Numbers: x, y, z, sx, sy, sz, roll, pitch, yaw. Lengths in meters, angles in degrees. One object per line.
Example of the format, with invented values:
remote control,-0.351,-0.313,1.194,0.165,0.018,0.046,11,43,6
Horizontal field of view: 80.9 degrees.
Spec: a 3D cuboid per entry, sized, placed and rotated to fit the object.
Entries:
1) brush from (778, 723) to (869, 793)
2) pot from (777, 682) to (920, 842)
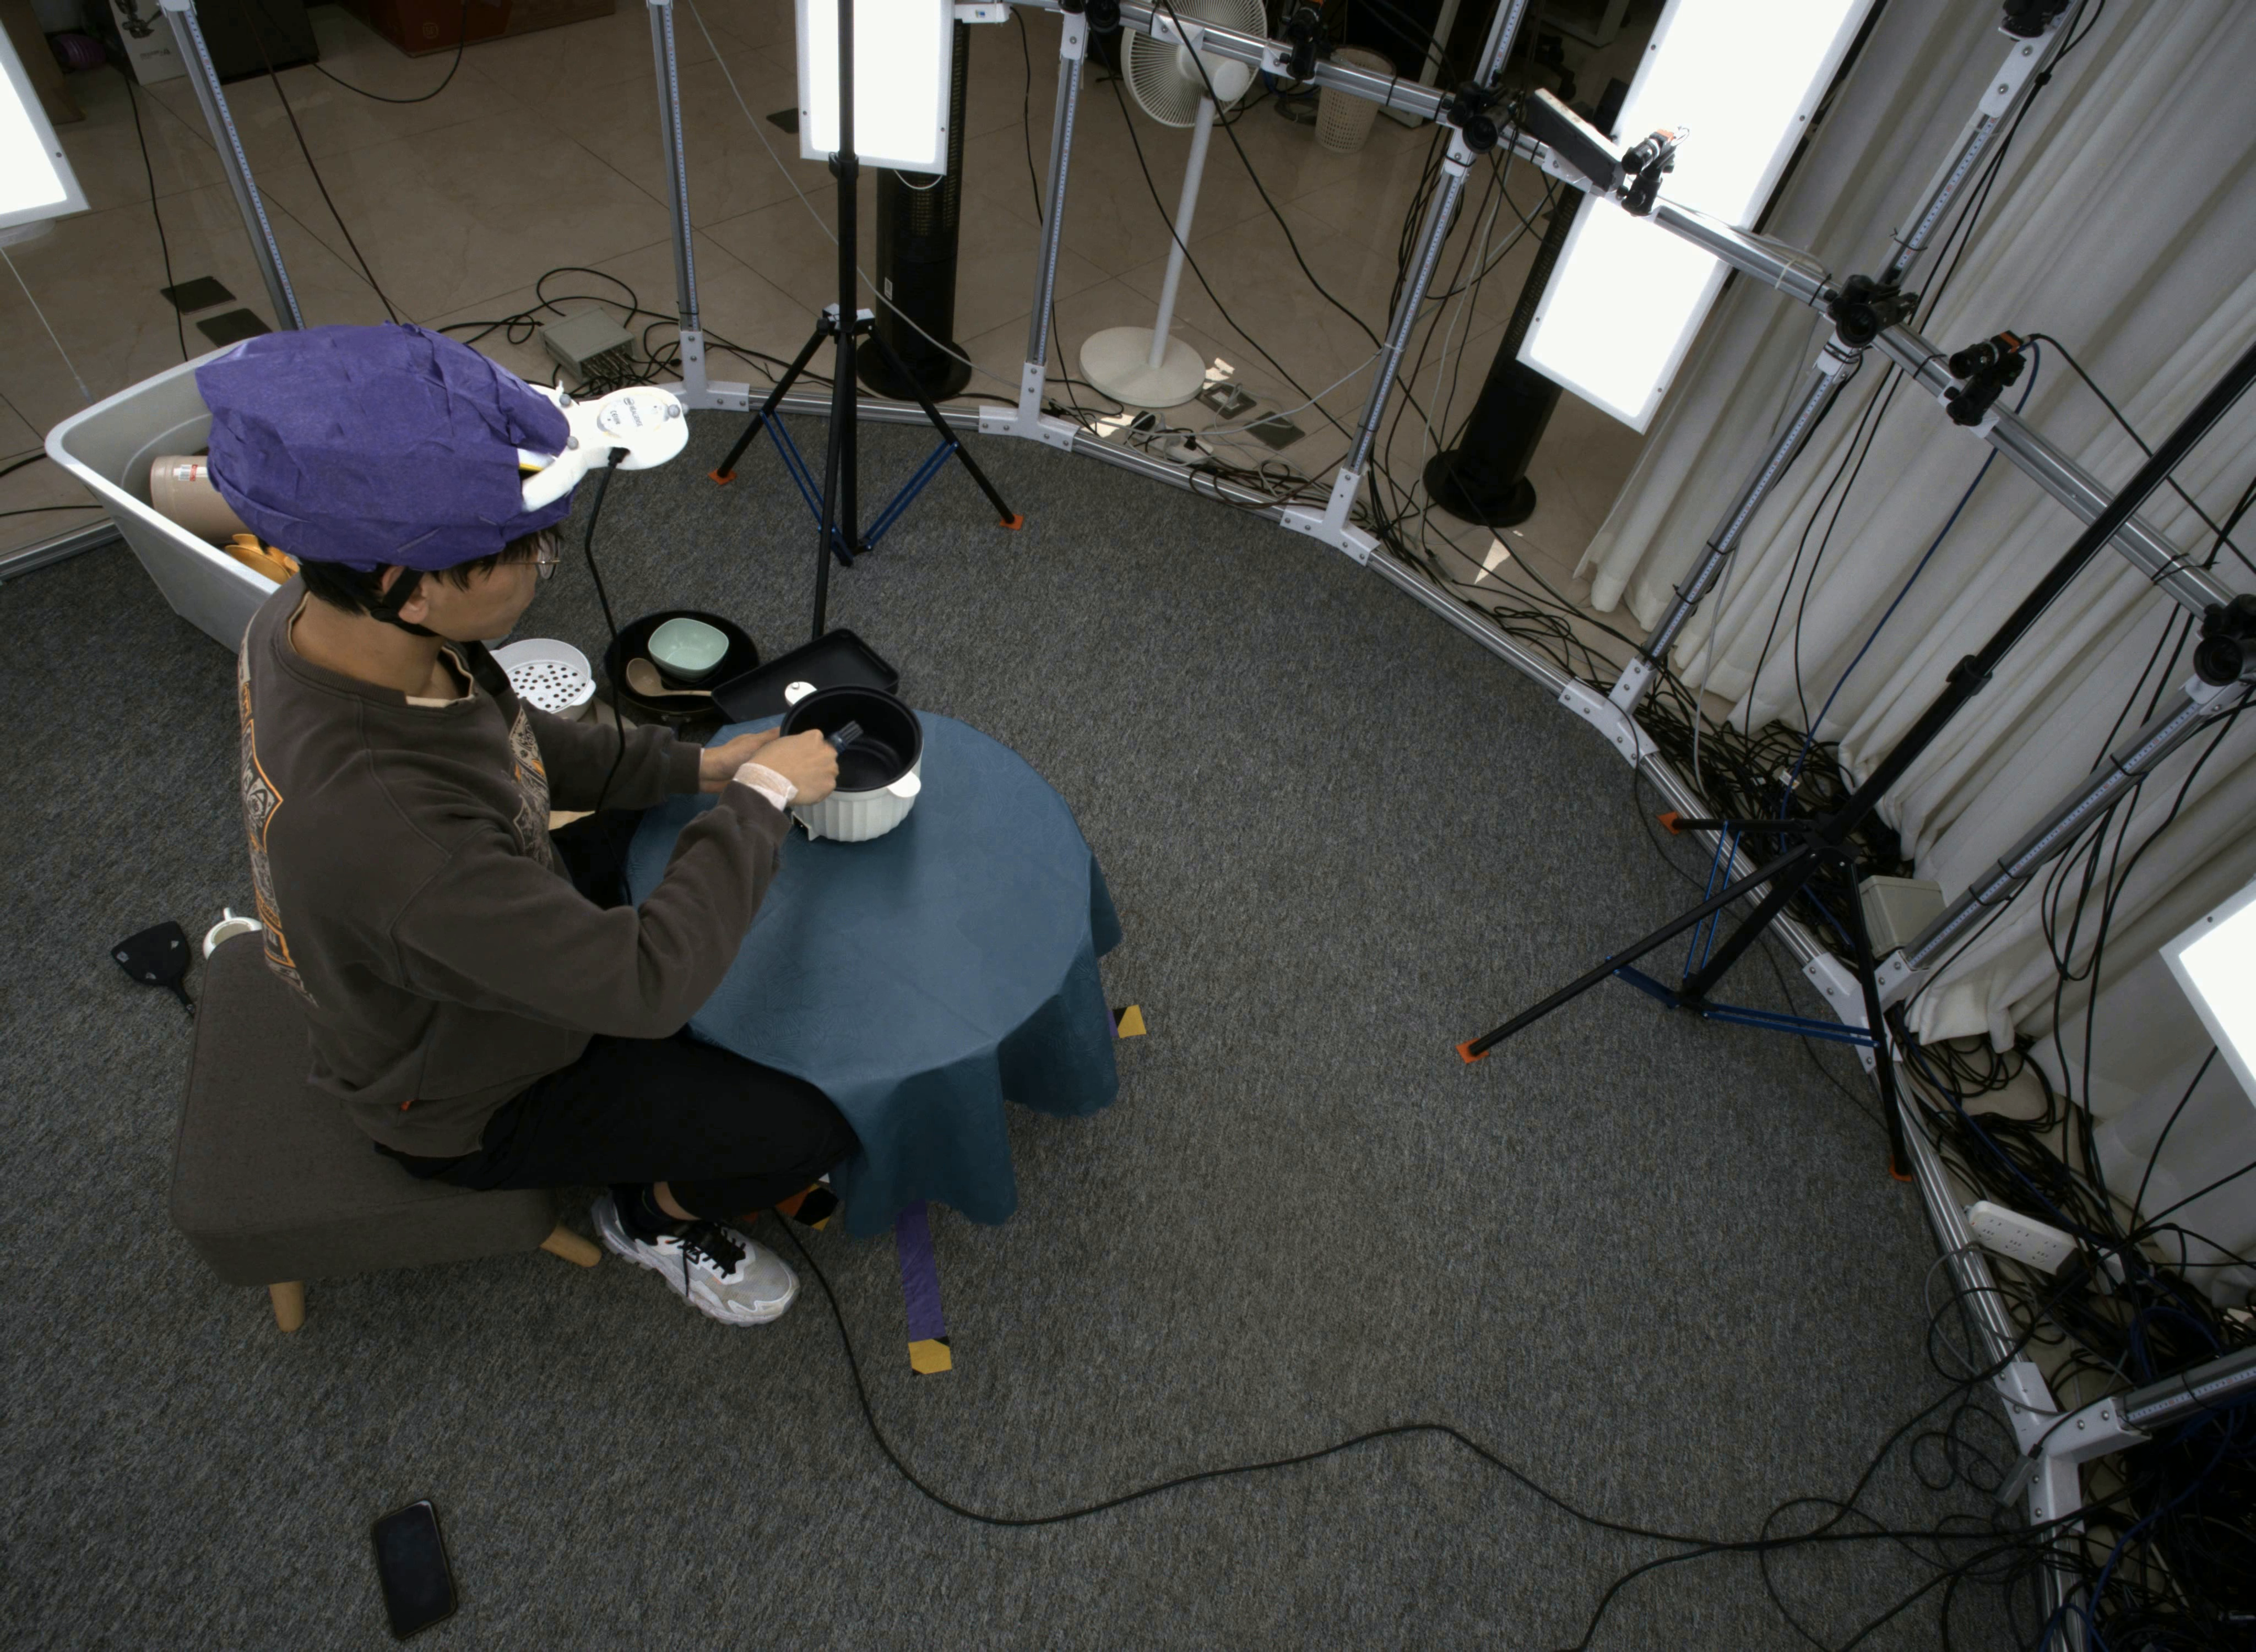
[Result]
brush,-0.371,-0.086,1.578,0.095,0.269,0.034,-34,101,-1
pot,-0.364,-0.081,1.723,0.235,0.145,0.190,40,60,15
